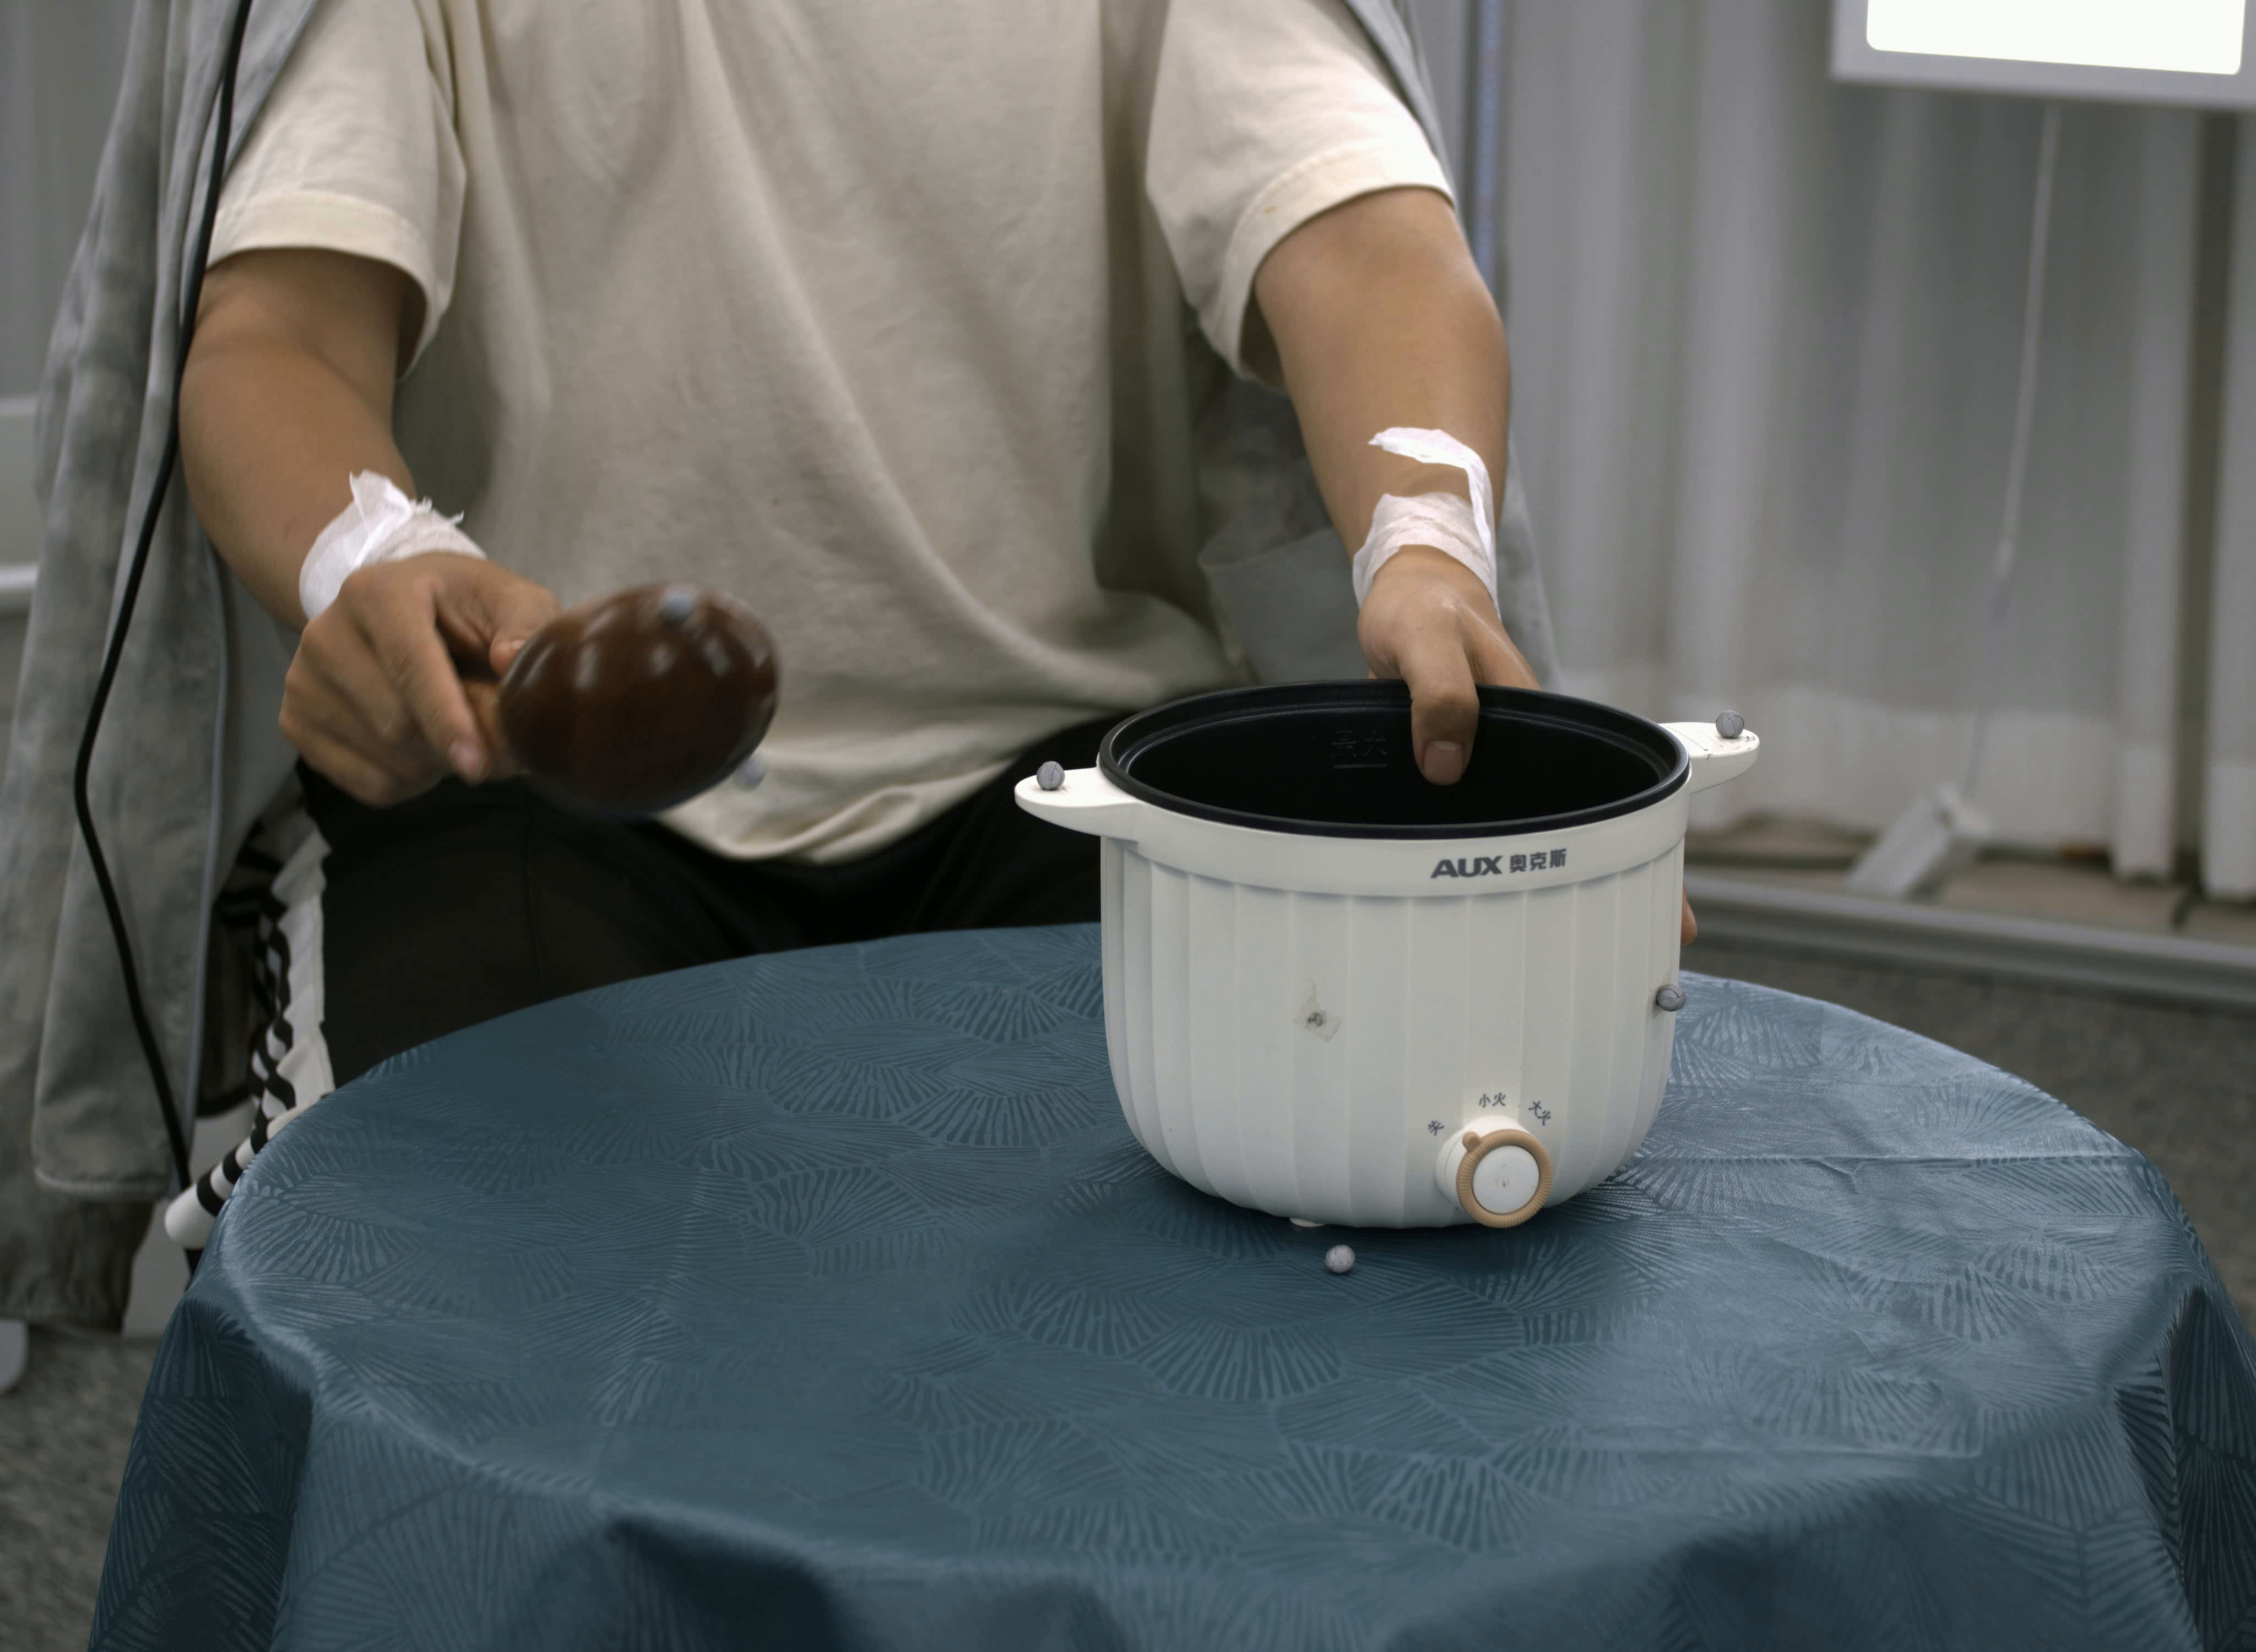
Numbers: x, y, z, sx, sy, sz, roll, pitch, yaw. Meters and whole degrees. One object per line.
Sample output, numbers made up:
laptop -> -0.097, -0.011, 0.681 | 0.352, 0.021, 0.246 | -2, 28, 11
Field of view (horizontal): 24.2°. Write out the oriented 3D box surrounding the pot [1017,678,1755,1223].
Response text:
pot -> 0.084, 0.041, 1.624 | 0.241, 0.144, 0.188 | -6, 14, -18

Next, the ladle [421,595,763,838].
ladle -> -0.176, -0.048, 1.572 | 0.082, 0.077, 0.271 | 5, 9, -20
